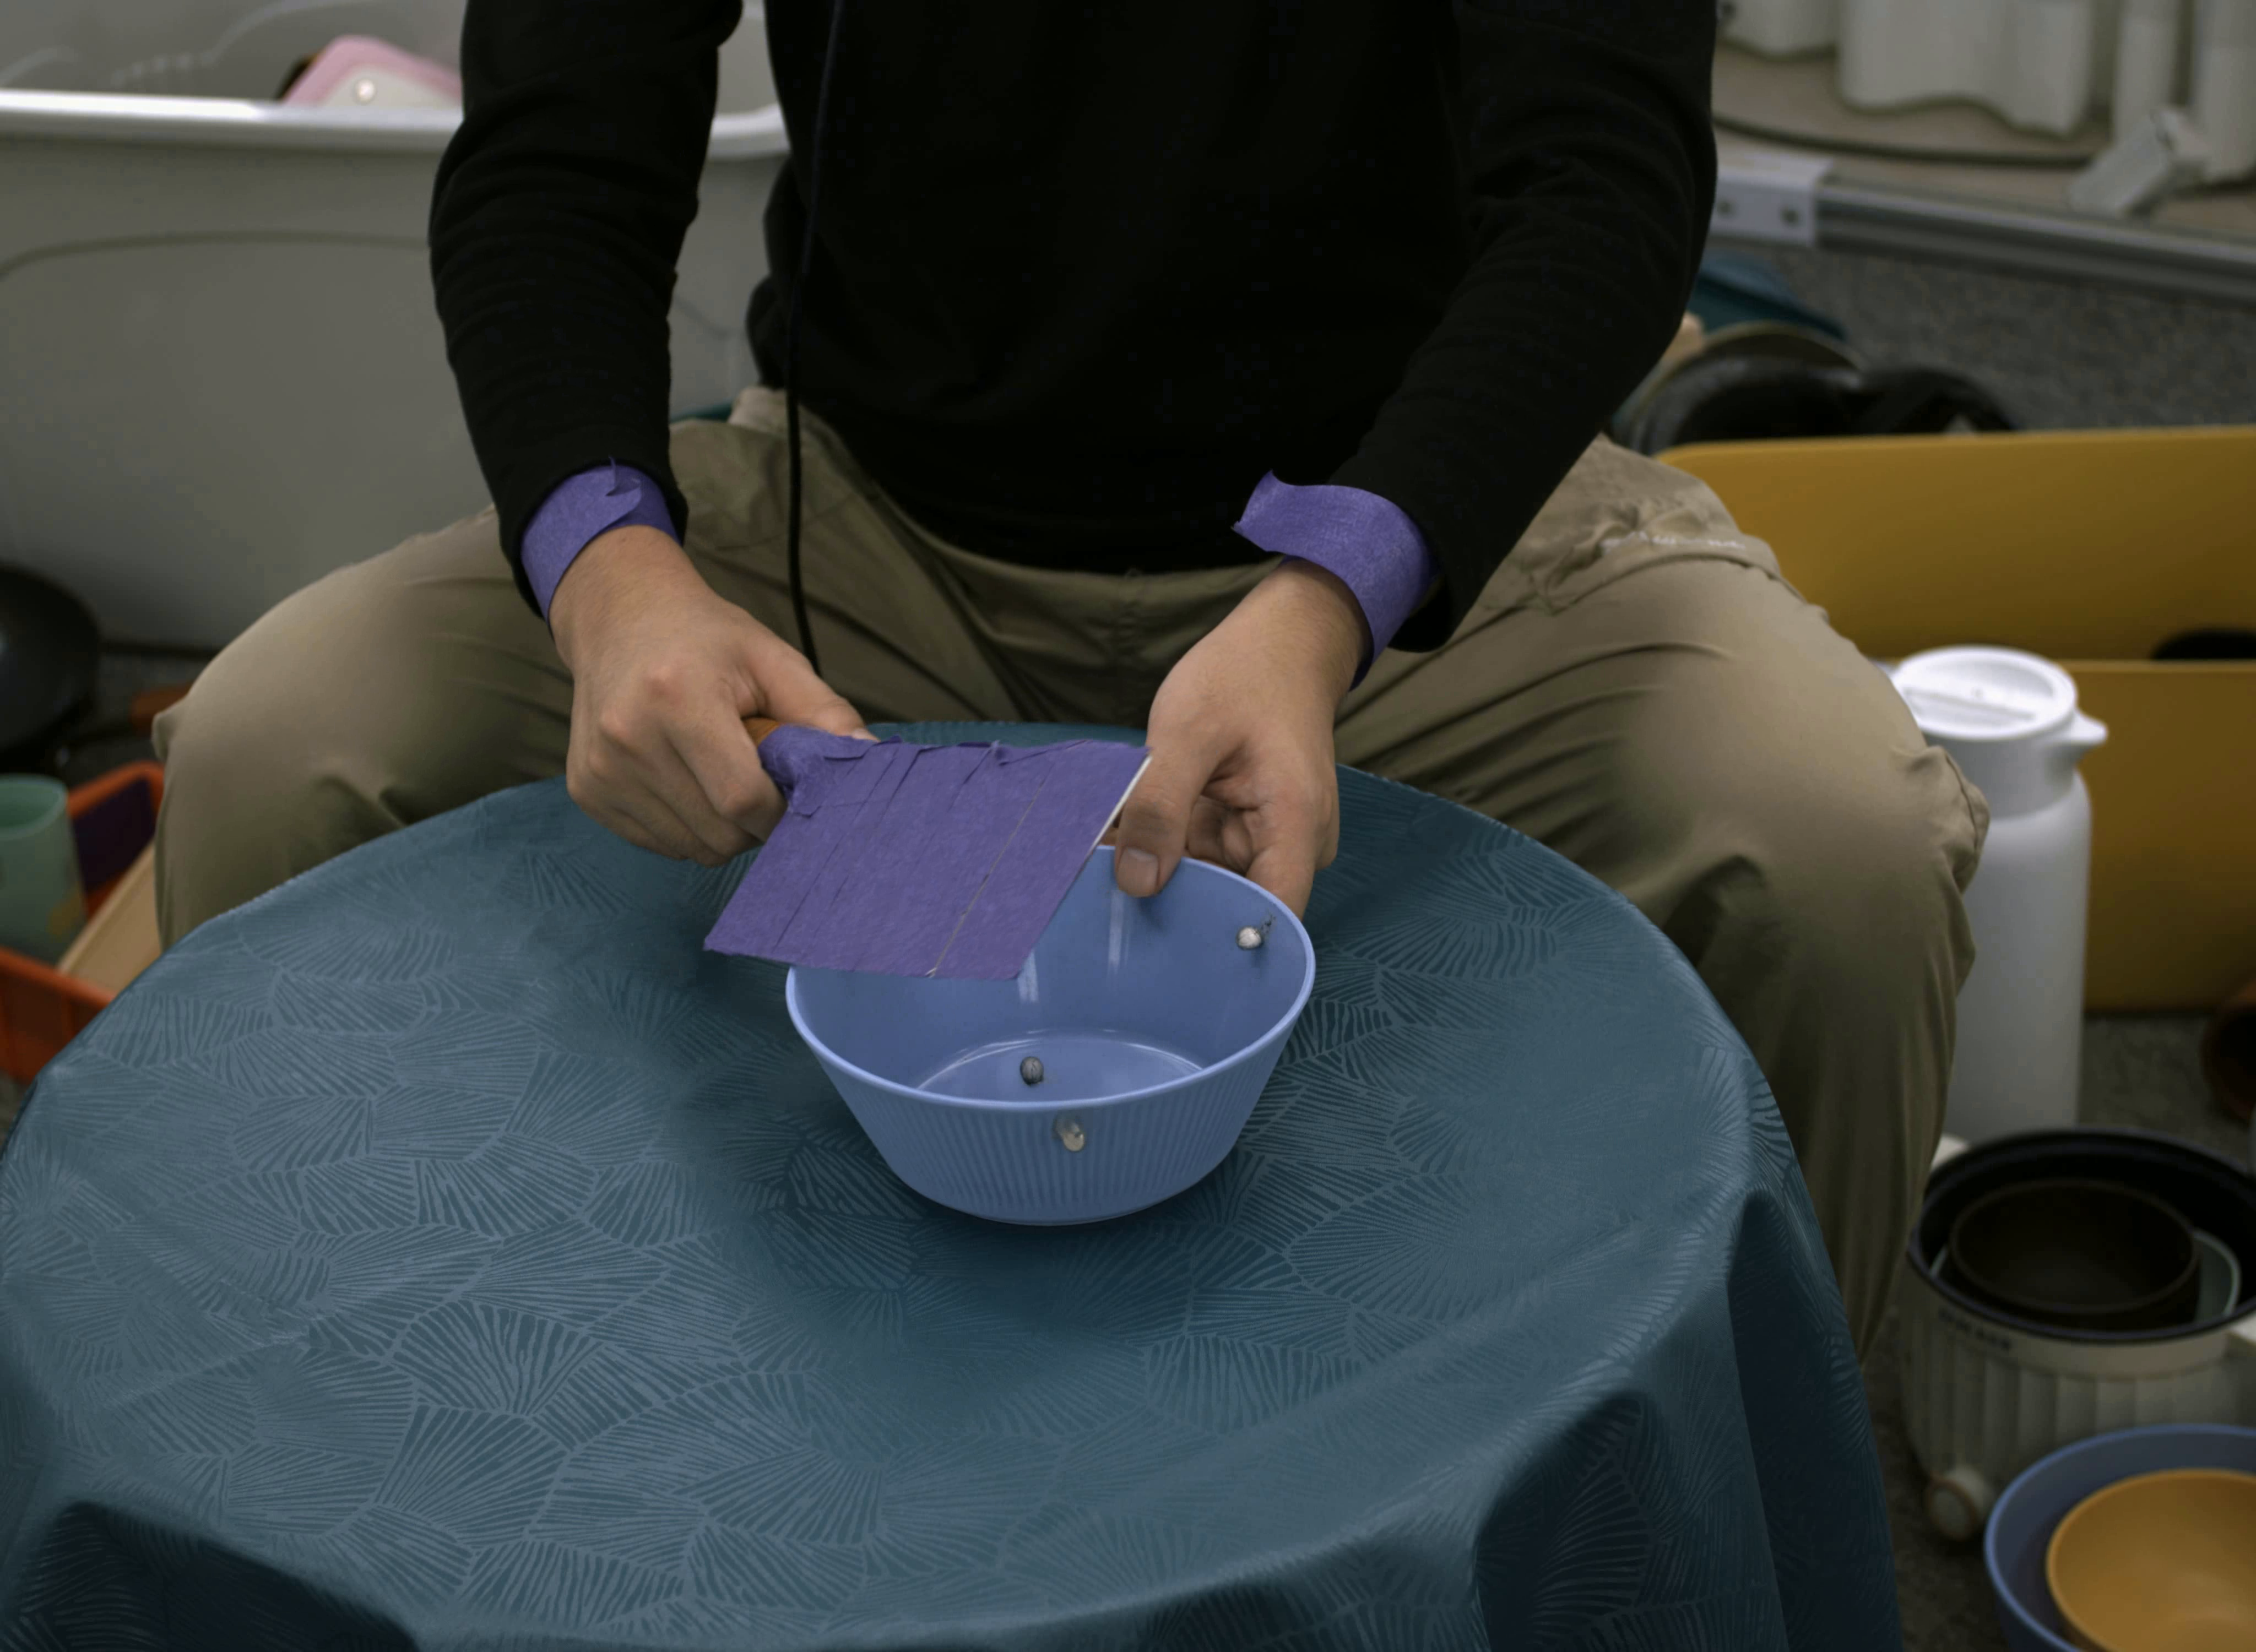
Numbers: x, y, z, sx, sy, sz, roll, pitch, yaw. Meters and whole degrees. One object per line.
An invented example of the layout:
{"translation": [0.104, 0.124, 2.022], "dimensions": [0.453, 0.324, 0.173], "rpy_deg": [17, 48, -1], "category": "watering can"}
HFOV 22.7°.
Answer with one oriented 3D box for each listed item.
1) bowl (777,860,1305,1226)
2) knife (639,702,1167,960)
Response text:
{"translation": [-0.028, 0.078, 1.871], "dimensions": [0.175, 0.069, 0.178], "rpy_deg": [-1, 25, 1], "category": "bowl"}
{"translation": [-0.097, 0.002, 1.894], "dimensions": [0.312, 0.032, 0.105], "rpy_deg": [-2, 51, 58], "category": "knife"}
